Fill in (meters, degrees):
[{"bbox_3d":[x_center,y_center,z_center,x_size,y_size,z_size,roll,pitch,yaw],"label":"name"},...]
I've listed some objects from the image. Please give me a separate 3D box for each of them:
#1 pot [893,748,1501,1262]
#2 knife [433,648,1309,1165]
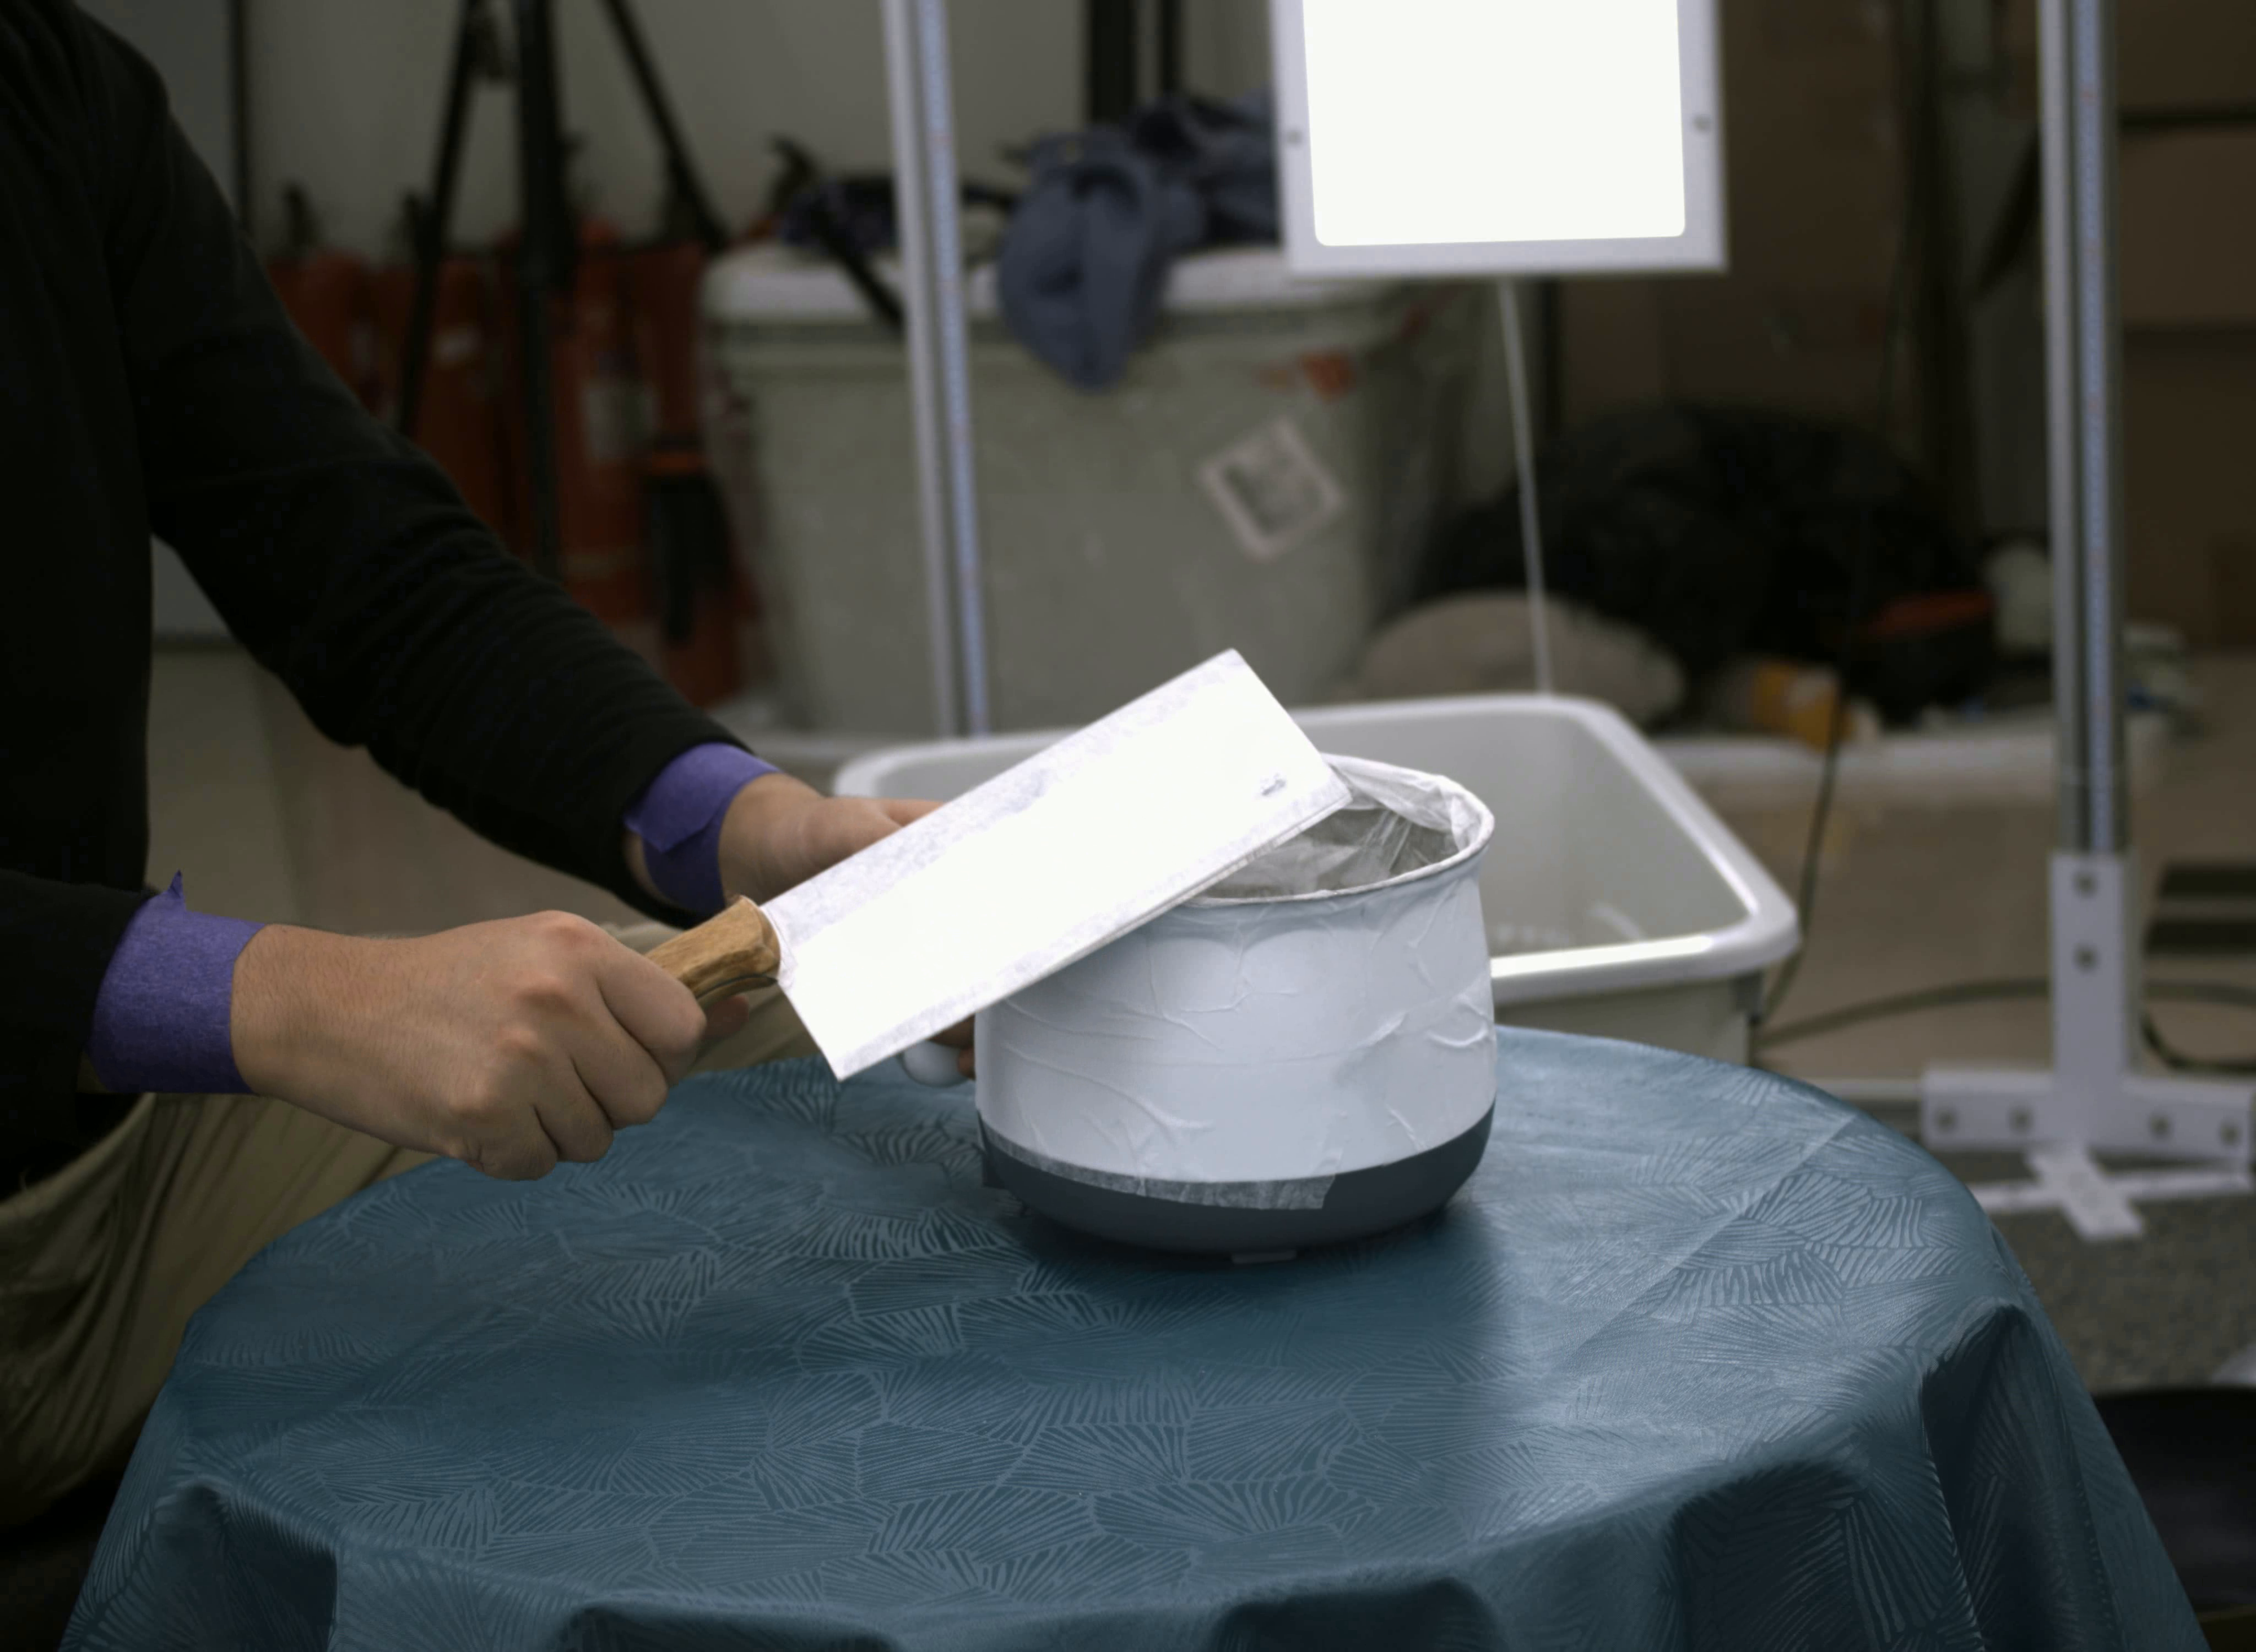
[{"bbox_3d":[0.014,0.054,1.874,0.238,0.137,0.174,12,21,36],"label":"pot"},{"bbox_3d":[-0.080,0.036,1.785,0.304,0.021,0.094,-30,41,-5],"label":"knife"}]
